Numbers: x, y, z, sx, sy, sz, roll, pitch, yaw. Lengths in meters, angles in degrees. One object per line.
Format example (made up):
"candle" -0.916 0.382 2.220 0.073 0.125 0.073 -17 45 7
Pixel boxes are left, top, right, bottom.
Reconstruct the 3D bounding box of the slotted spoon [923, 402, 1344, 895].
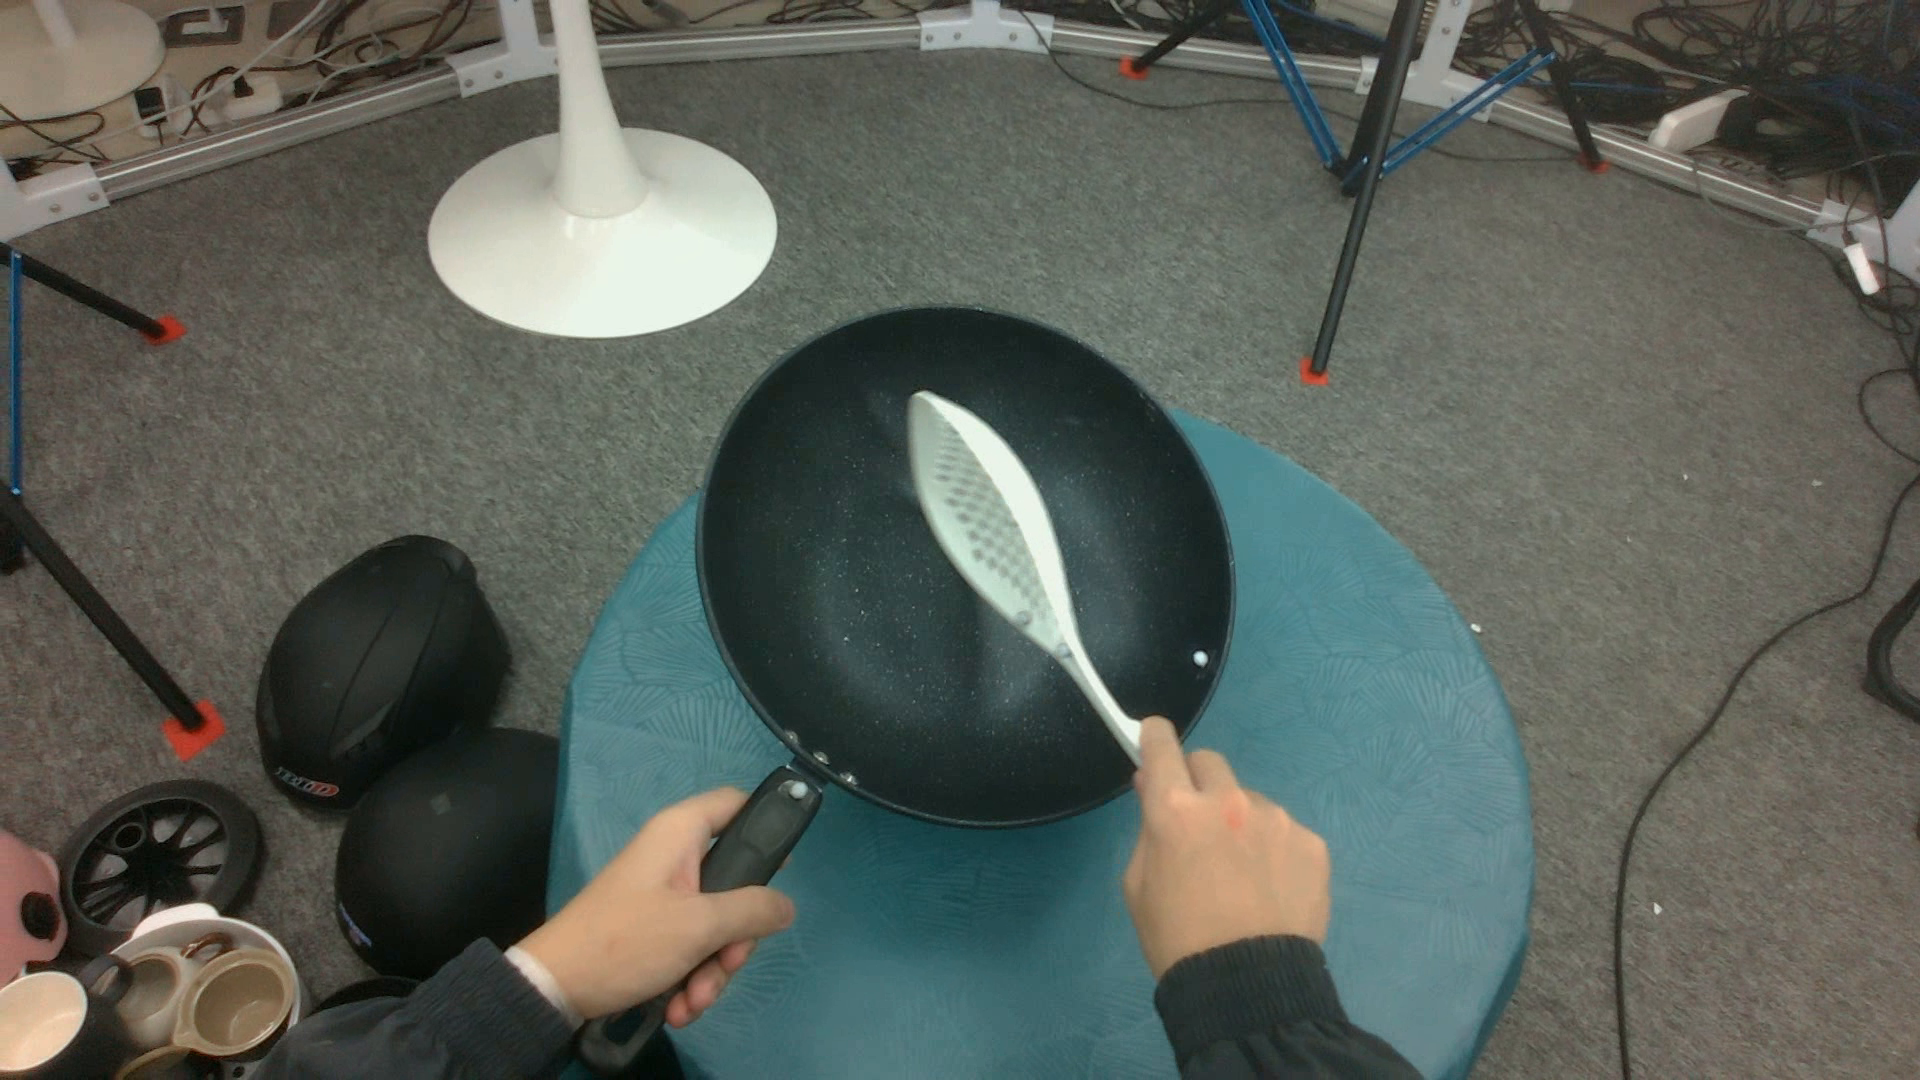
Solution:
"slotted spoon" 0.079 0.056 0.742 0.050 0.136 0.348 -23 57 -16

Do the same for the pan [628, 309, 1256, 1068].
"pan" -0.028 0.075 0.764 0.310 0.111 0.479 33 64 3
